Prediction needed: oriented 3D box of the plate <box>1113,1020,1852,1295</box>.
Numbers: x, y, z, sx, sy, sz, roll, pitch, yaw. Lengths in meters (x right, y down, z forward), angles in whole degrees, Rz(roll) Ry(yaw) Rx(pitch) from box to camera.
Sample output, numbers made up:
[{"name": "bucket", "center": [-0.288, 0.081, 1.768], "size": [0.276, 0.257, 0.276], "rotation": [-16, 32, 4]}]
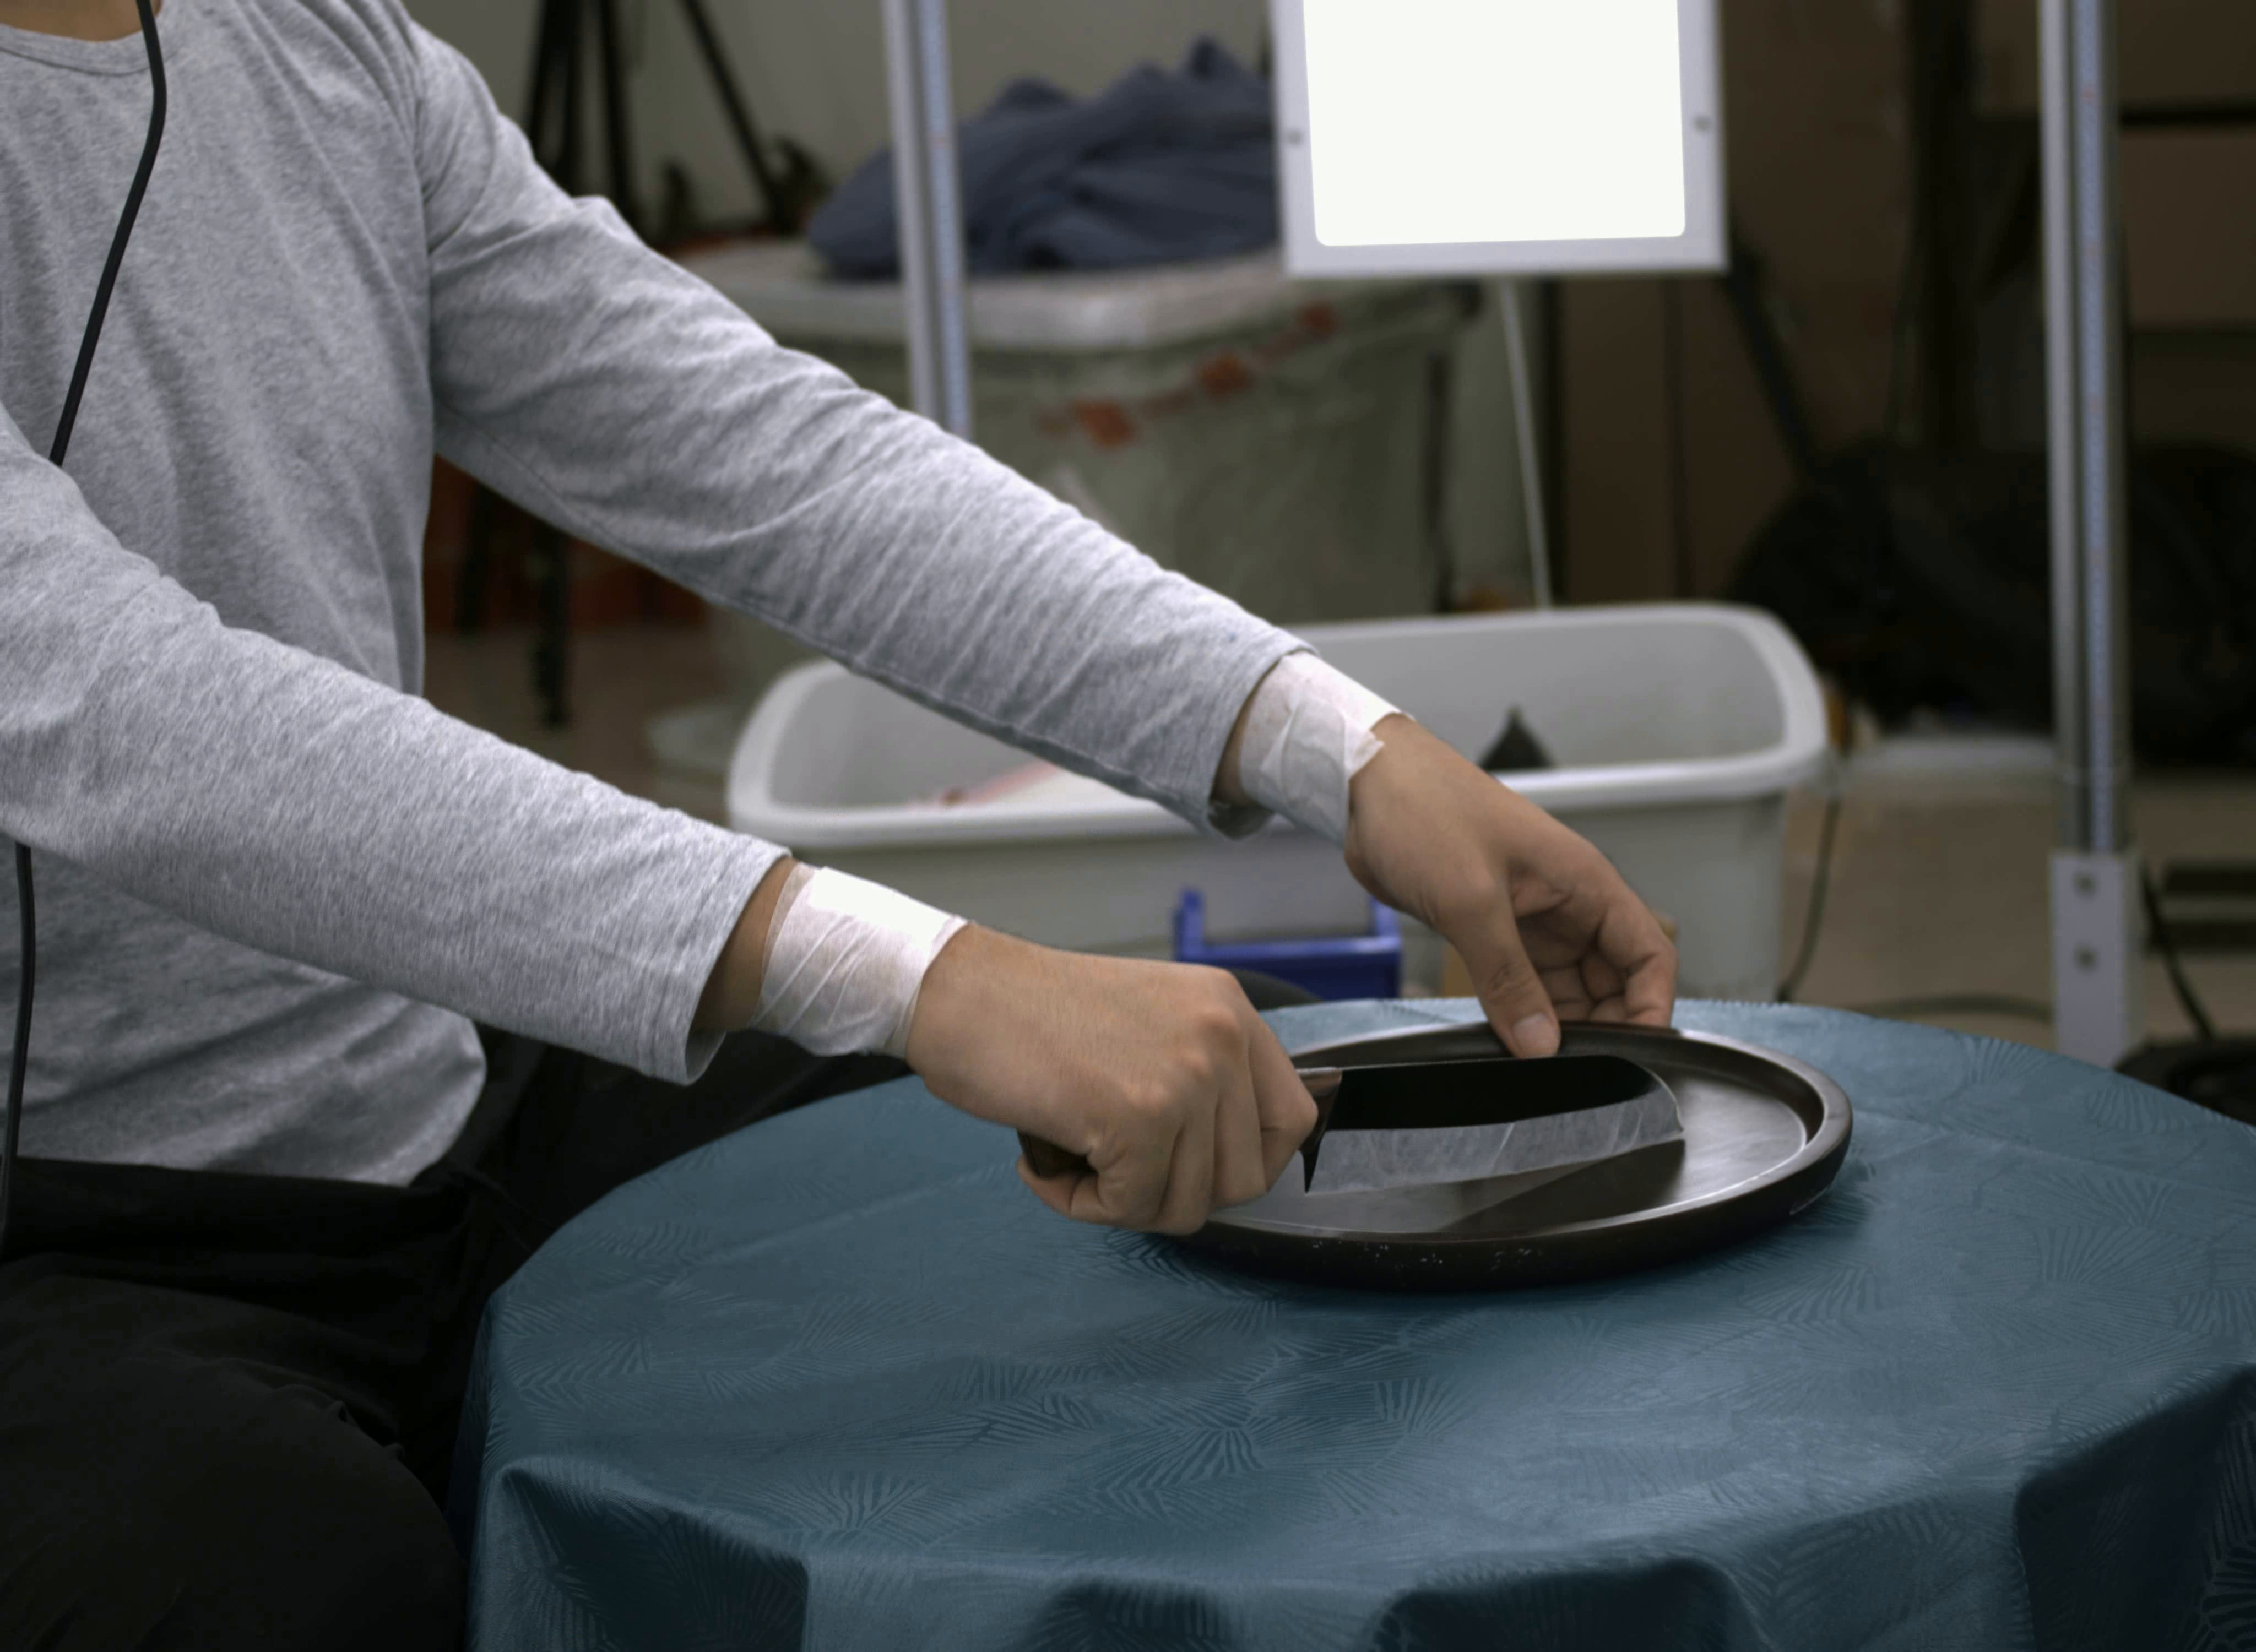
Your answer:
[{"name": "plate", "center": [0.121, 0.110, 1.872], "size": [0.254, 0.029, 0.254], "rotation": [-7, 15, 0]}]

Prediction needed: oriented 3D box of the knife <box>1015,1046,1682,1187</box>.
[{"name": "knife", "center": [0.078, 0.094, 1.781], "size": [0.282, 0.050, 0.020], "rotation": [1, 23, -38]}]
